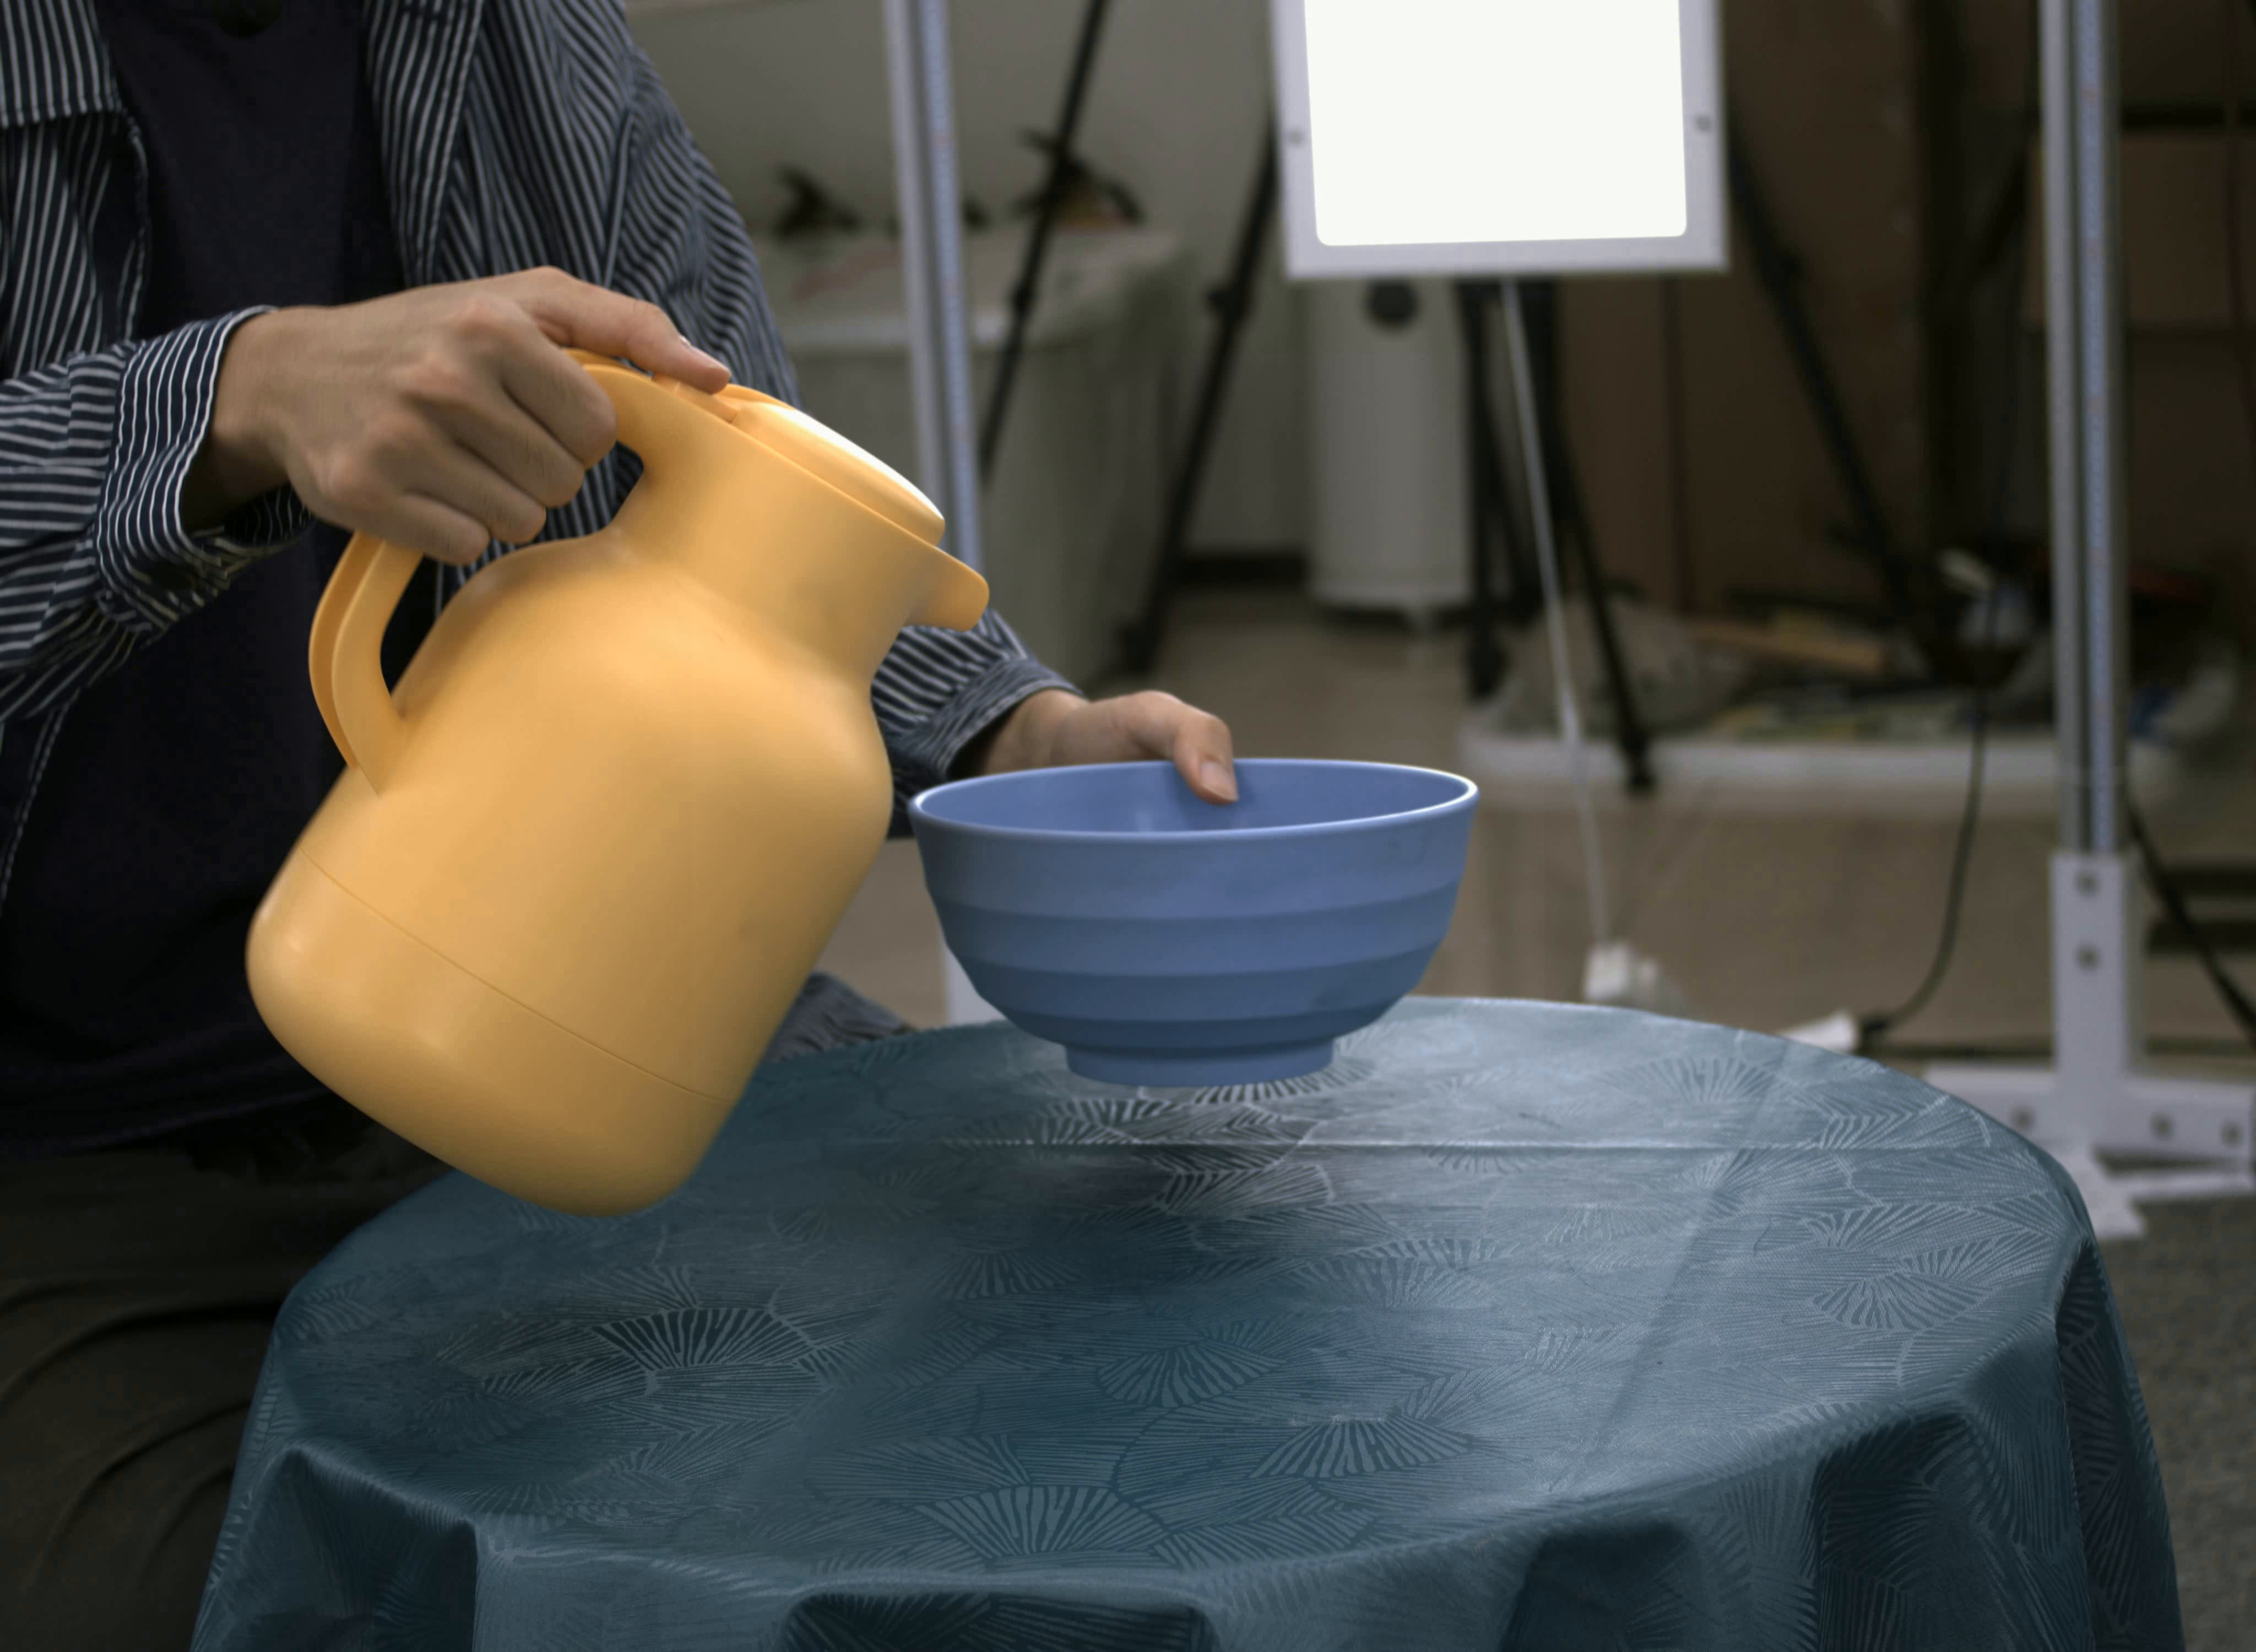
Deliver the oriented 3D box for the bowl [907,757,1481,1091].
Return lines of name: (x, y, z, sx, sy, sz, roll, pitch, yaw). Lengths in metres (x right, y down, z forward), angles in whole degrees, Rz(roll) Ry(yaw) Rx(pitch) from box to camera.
bowl: (0.024, 0.036, 1.879, 0.196, 0.096, 0.196, -2, 8, -1)

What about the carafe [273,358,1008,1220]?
carafe: (-0.168, -0.021, 1.771, 0.199, 0.261, 0.166, 29, 4, -30)
